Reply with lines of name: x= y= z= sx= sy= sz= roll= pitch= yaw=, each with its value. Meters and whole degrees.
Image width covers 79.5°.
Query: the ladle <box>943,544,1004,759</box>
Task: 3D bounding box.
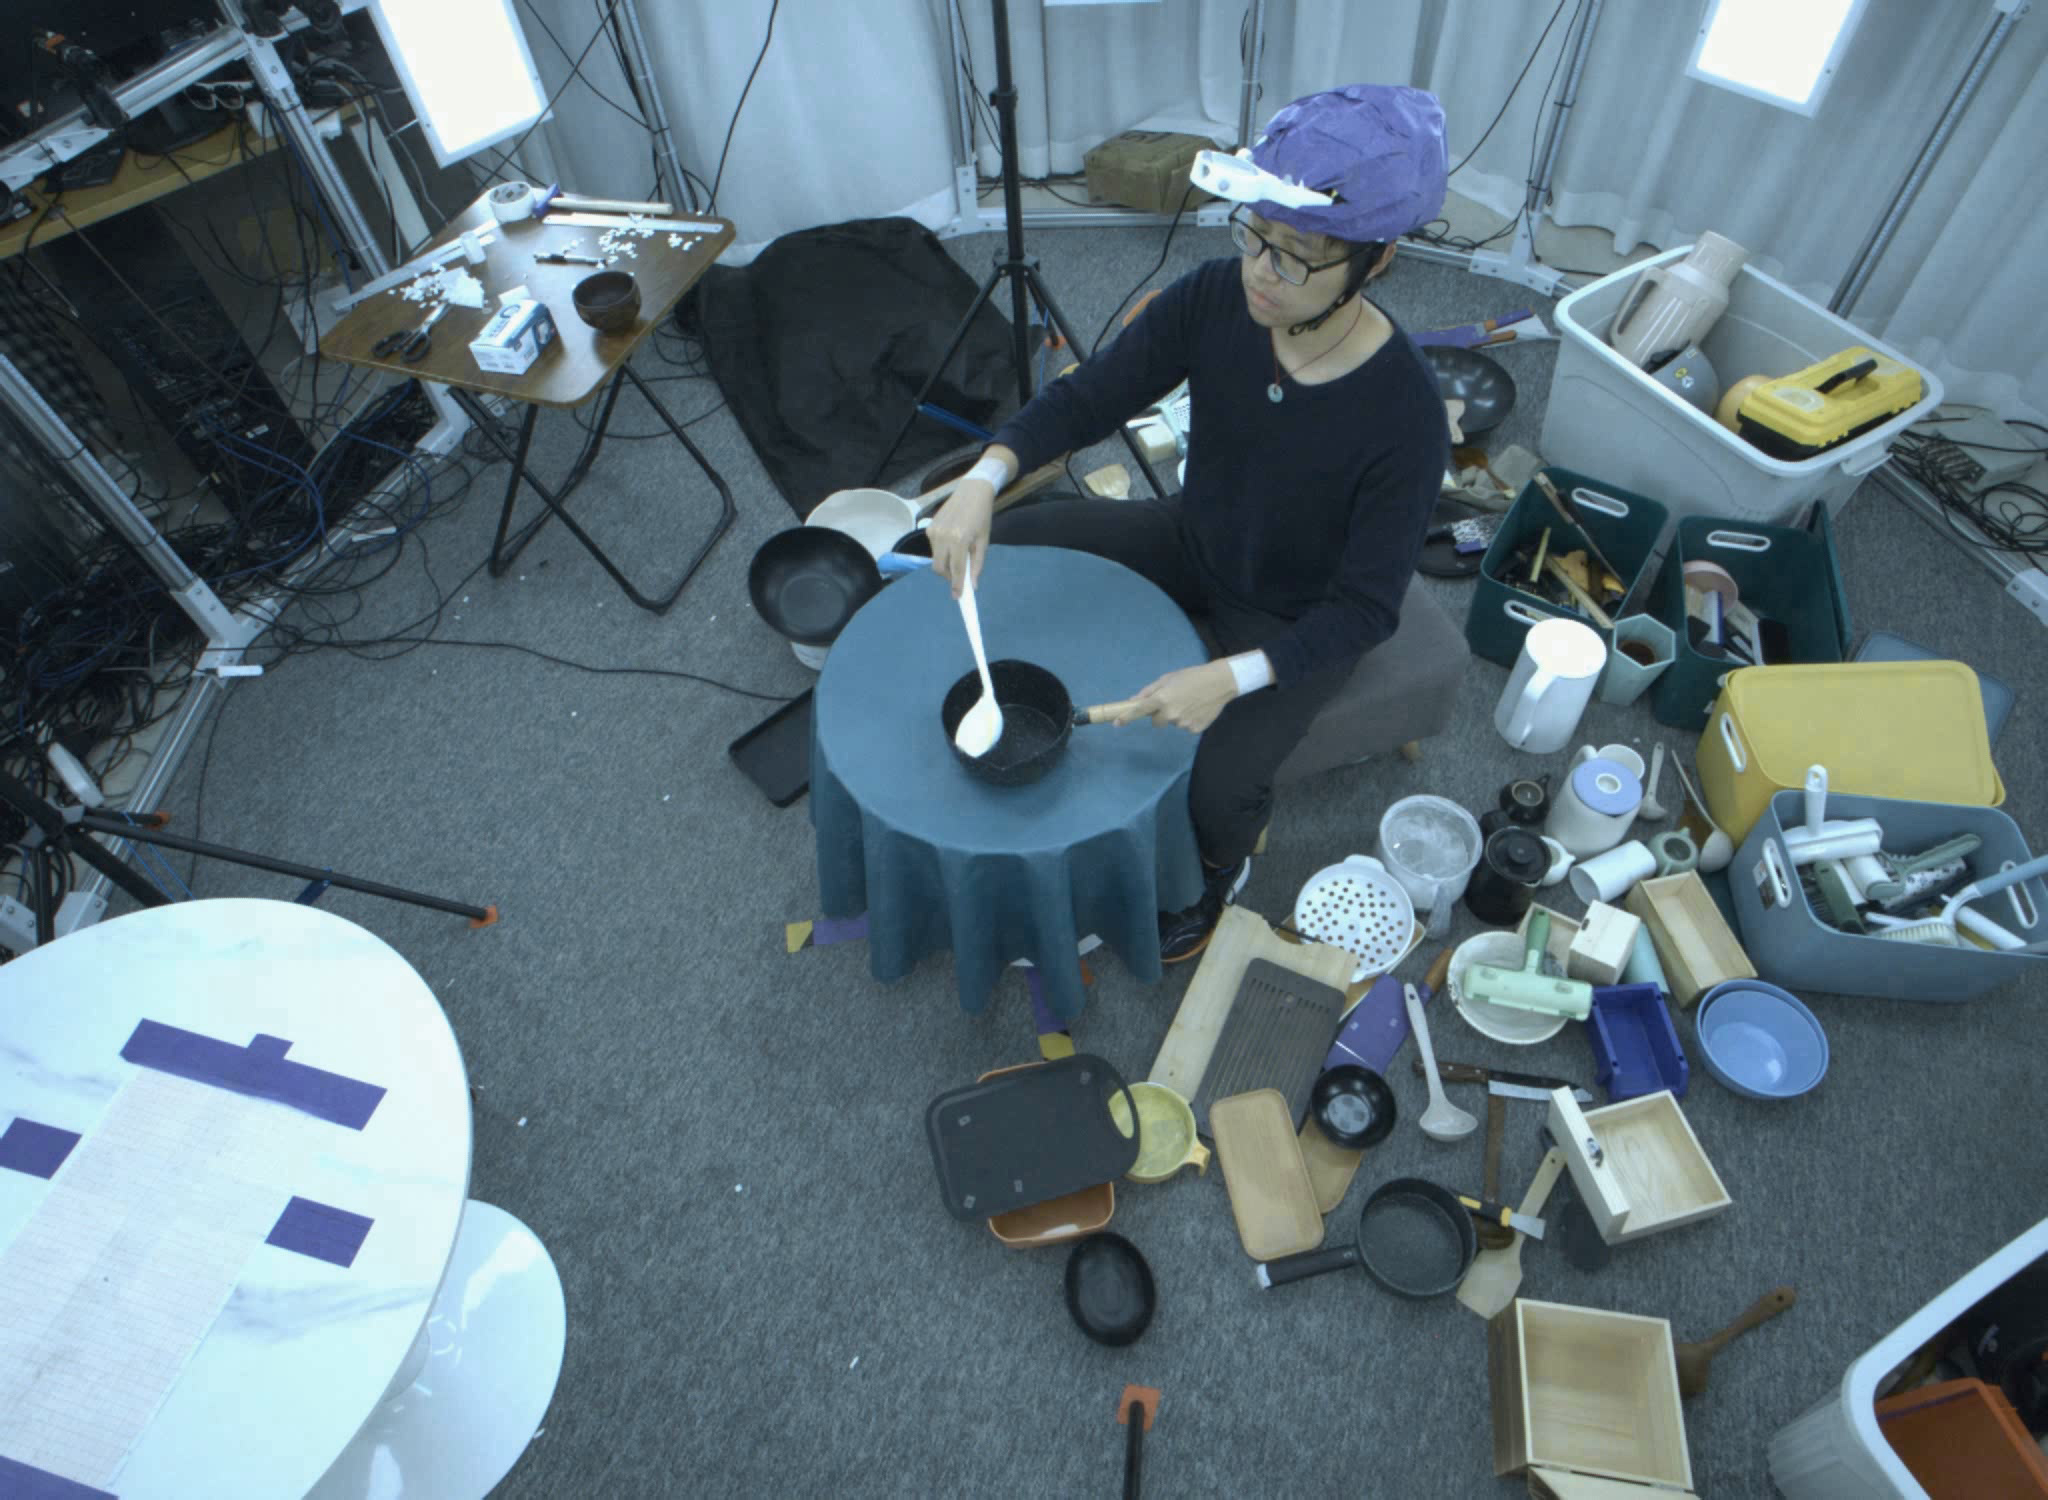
ladle: x=-0.082 y=-0.131 z=1.683 sx=0.071 sy=0.296 sz=0.088 roll=-22 pitch=22 yaw=-25

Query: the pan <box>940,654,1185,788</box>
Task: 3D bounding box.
pan: x=0.056 y=-0.041 z=1.747 sx=0.342 sy=0.109 sz=0.205 roll=-2 pitch=54 yaw=3
